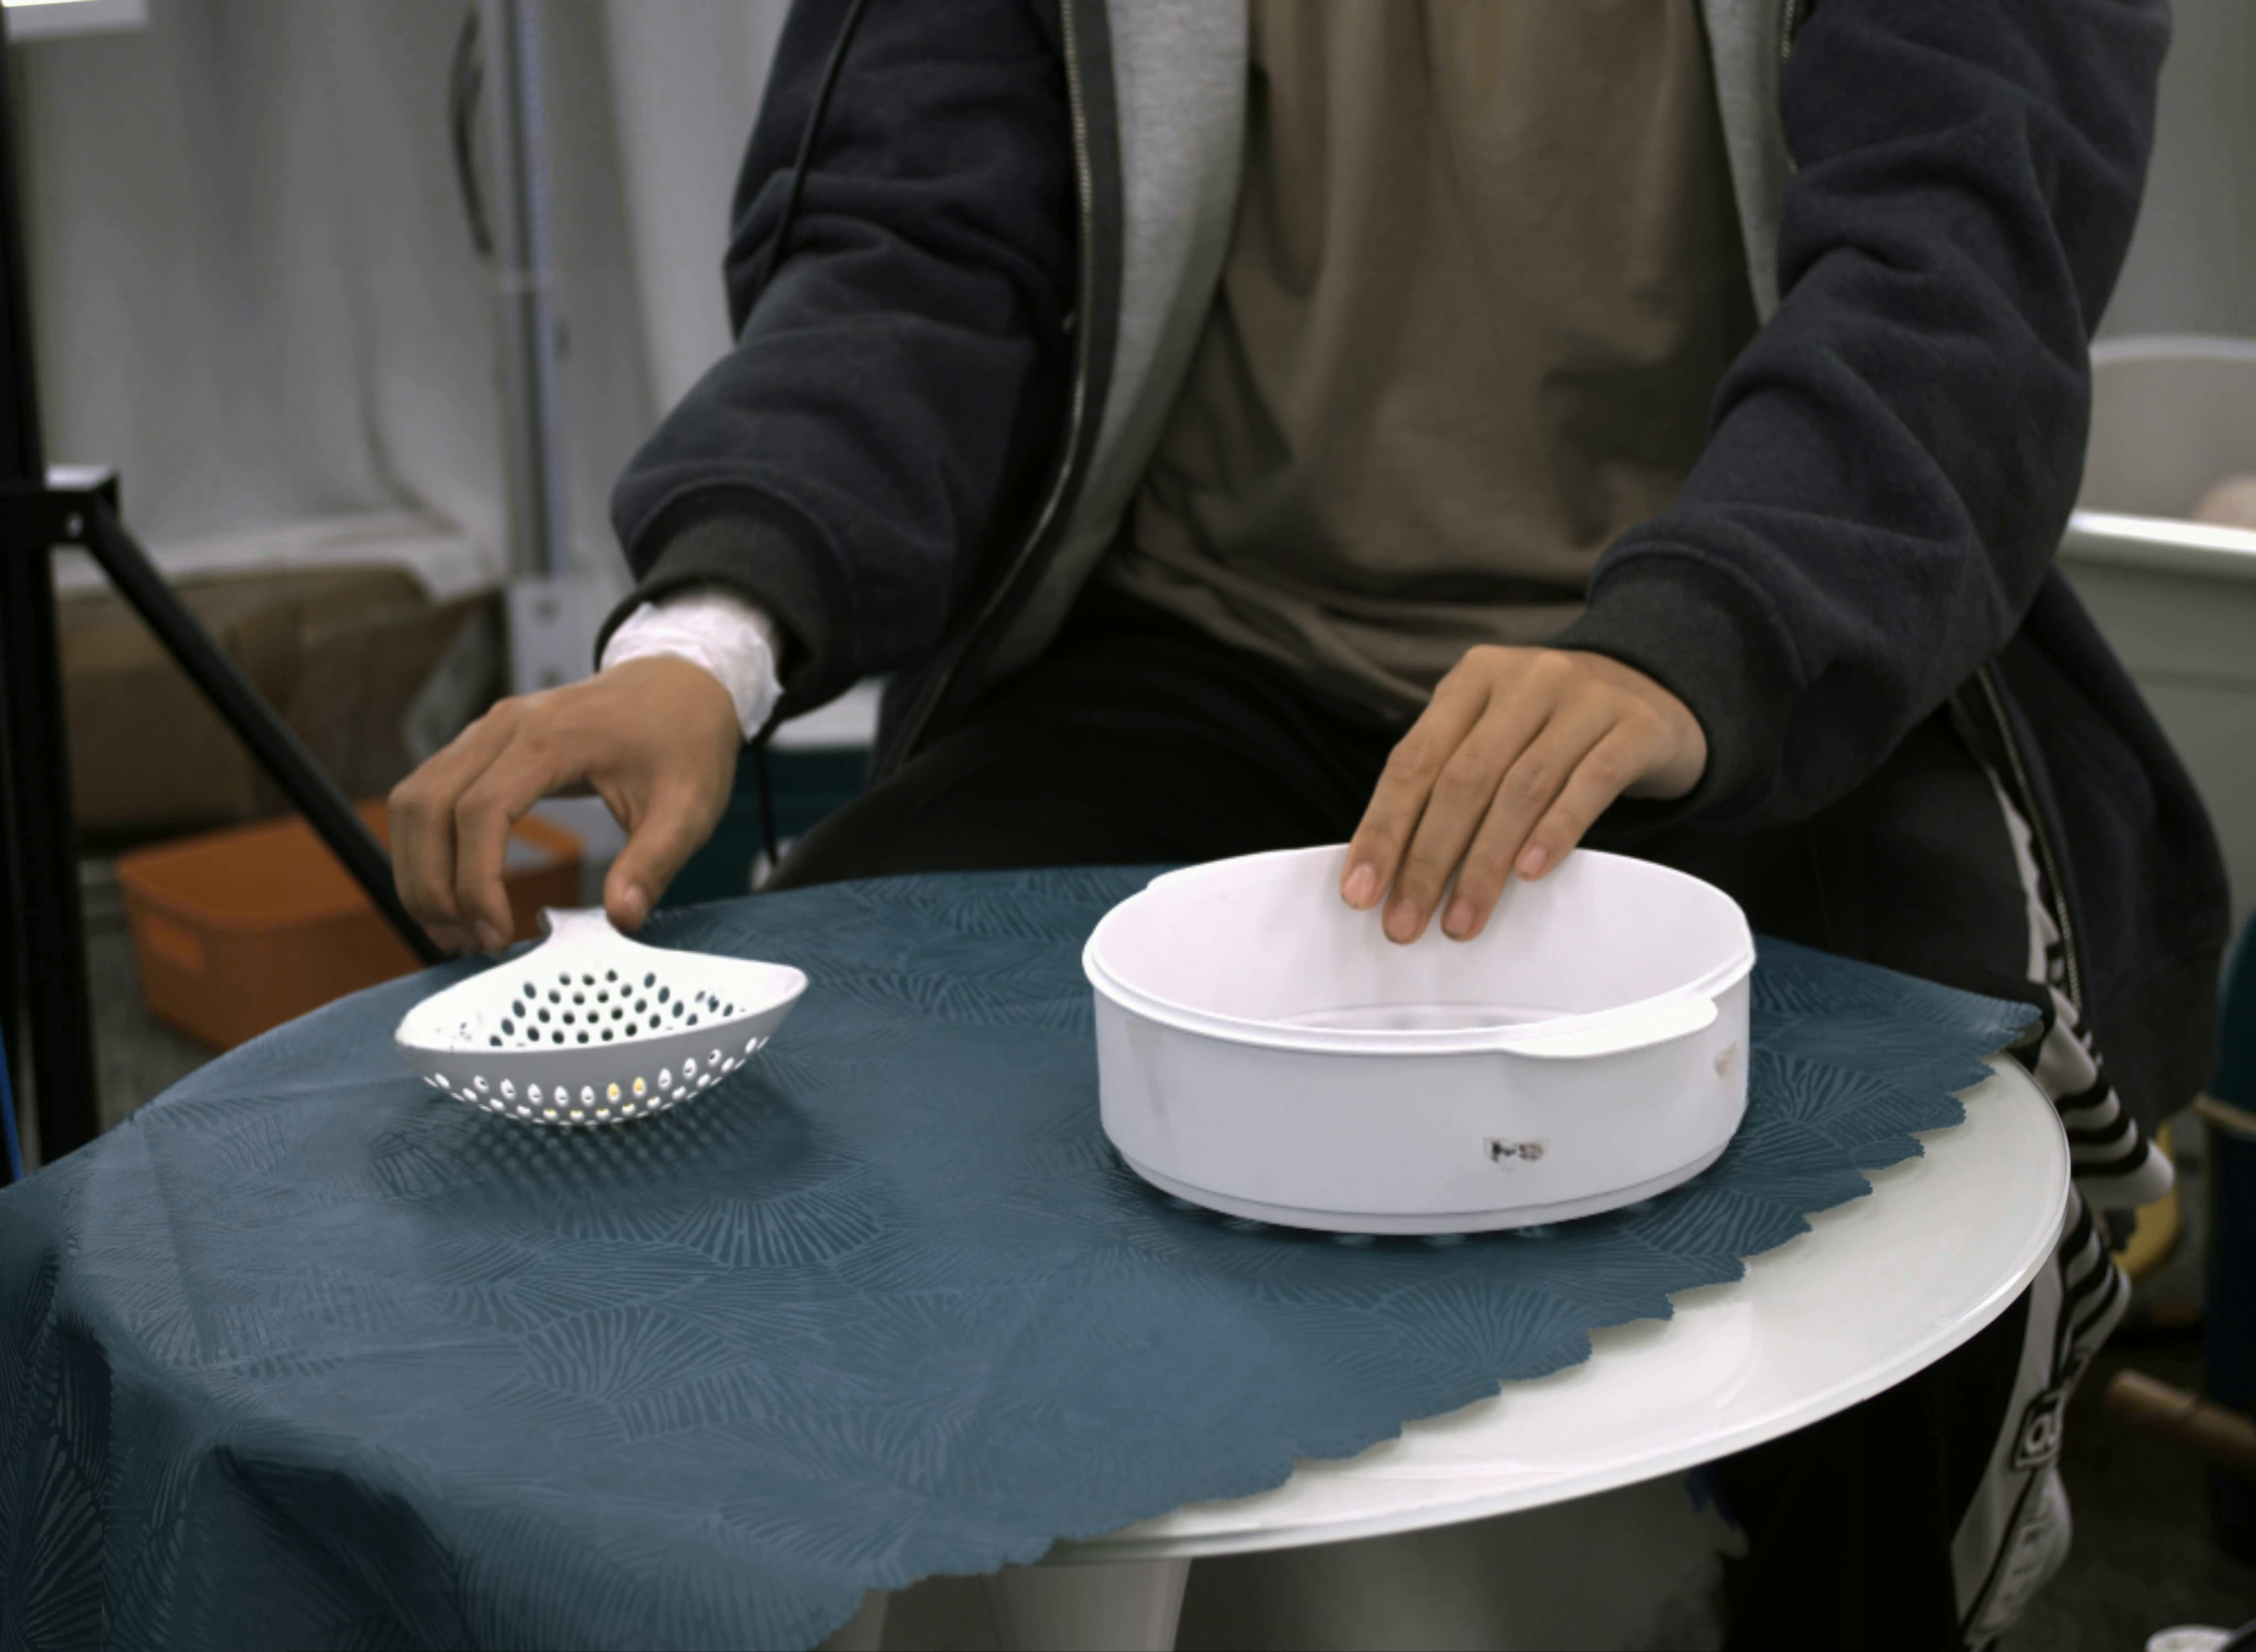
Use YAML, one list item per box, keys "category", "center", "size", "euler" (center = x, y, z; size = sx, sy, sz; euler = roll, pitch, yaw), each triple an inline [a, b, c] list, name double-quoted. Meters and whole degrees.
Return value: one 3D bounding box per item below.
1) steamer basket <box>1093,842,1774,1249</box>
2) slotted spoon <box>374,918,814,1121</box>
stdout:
- category: "steamer basket"
  center: [0.090, 0.065, 1.575]
  size: [0.197, 0.069, 0.236]
  euler: [-11, 19, -29]
- category: "slotted spoon"
  center: [-0.178, 0.051, 1.749]
  size: [0.135, 0.050, 0.351]
  euler: [-10, 11, -7]
